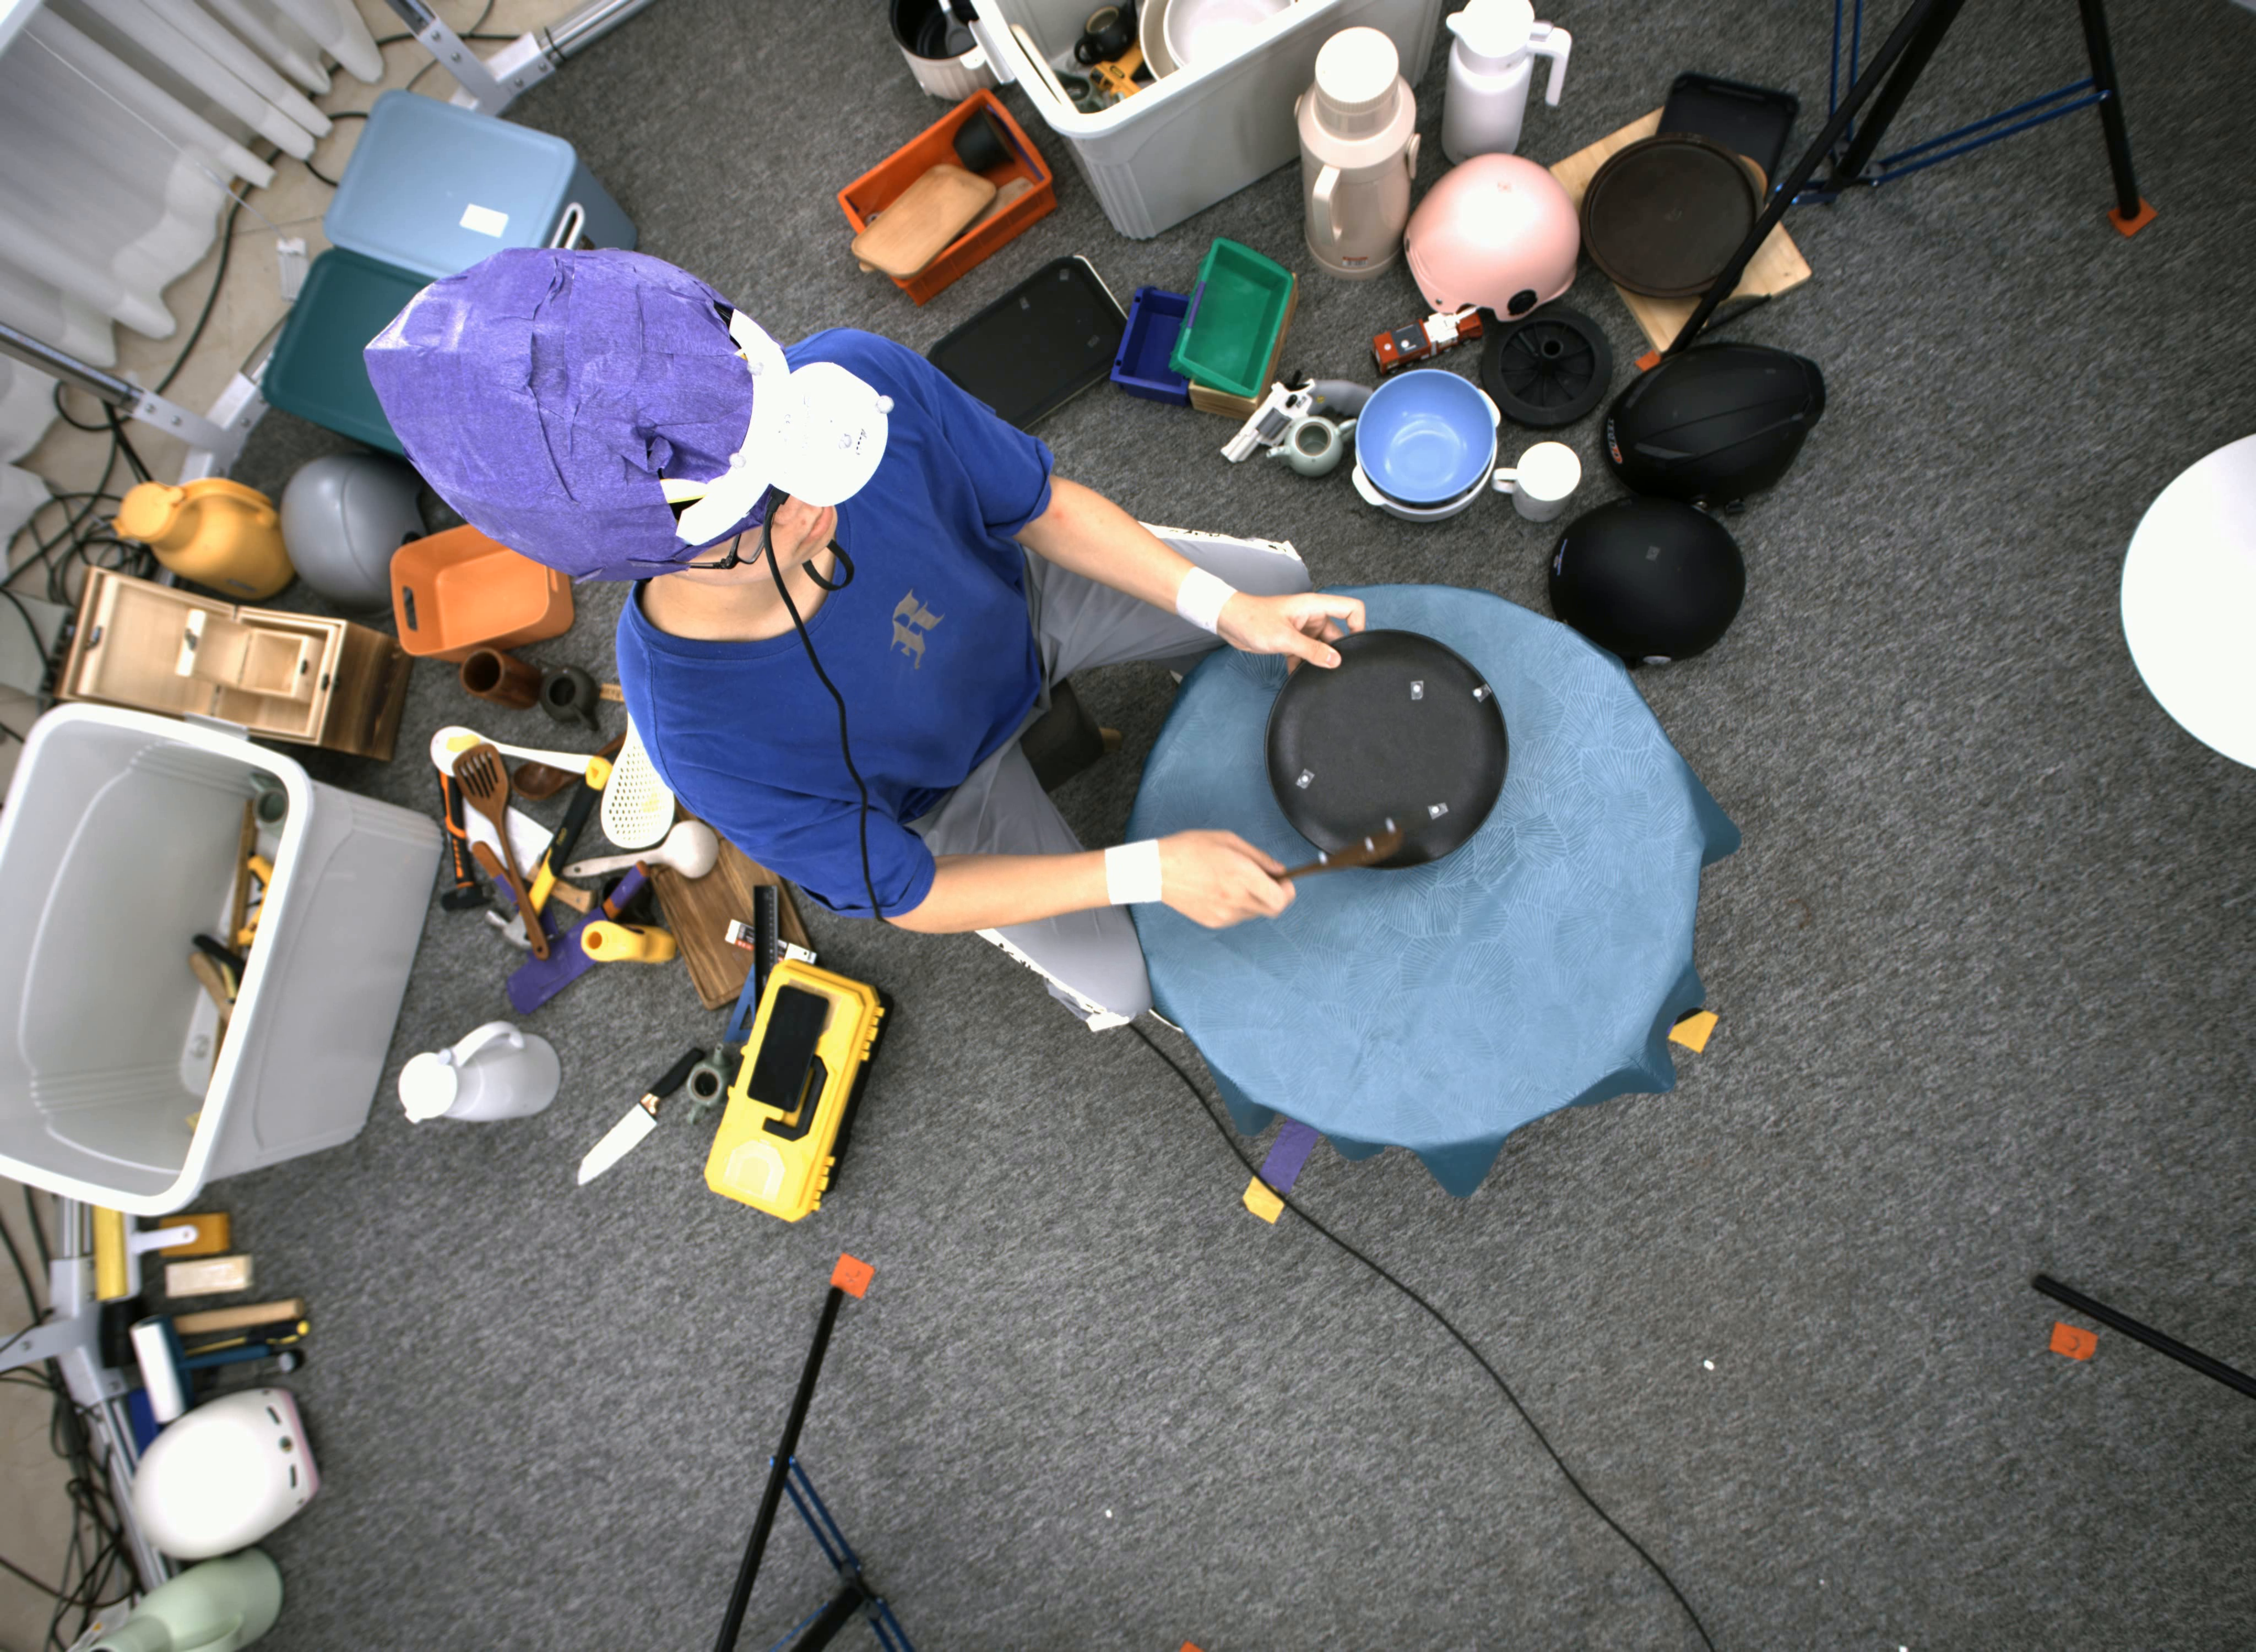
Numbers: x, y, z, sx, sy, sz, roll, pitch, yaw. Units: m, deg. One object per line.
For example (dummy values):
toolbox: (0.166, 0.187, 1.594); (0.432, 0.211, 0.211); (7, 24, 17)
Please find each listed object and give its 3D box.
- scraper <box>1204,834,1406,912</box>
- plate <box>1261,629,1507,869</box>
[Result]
scraper: (0.173, 0.049, 1.361); (0.213, 0.074, 0.011); (-19, 98, 17)
plate: (0.256, -0.078, 1.380); (0.245, 0.023, 0.247); (4, 105, 16)
